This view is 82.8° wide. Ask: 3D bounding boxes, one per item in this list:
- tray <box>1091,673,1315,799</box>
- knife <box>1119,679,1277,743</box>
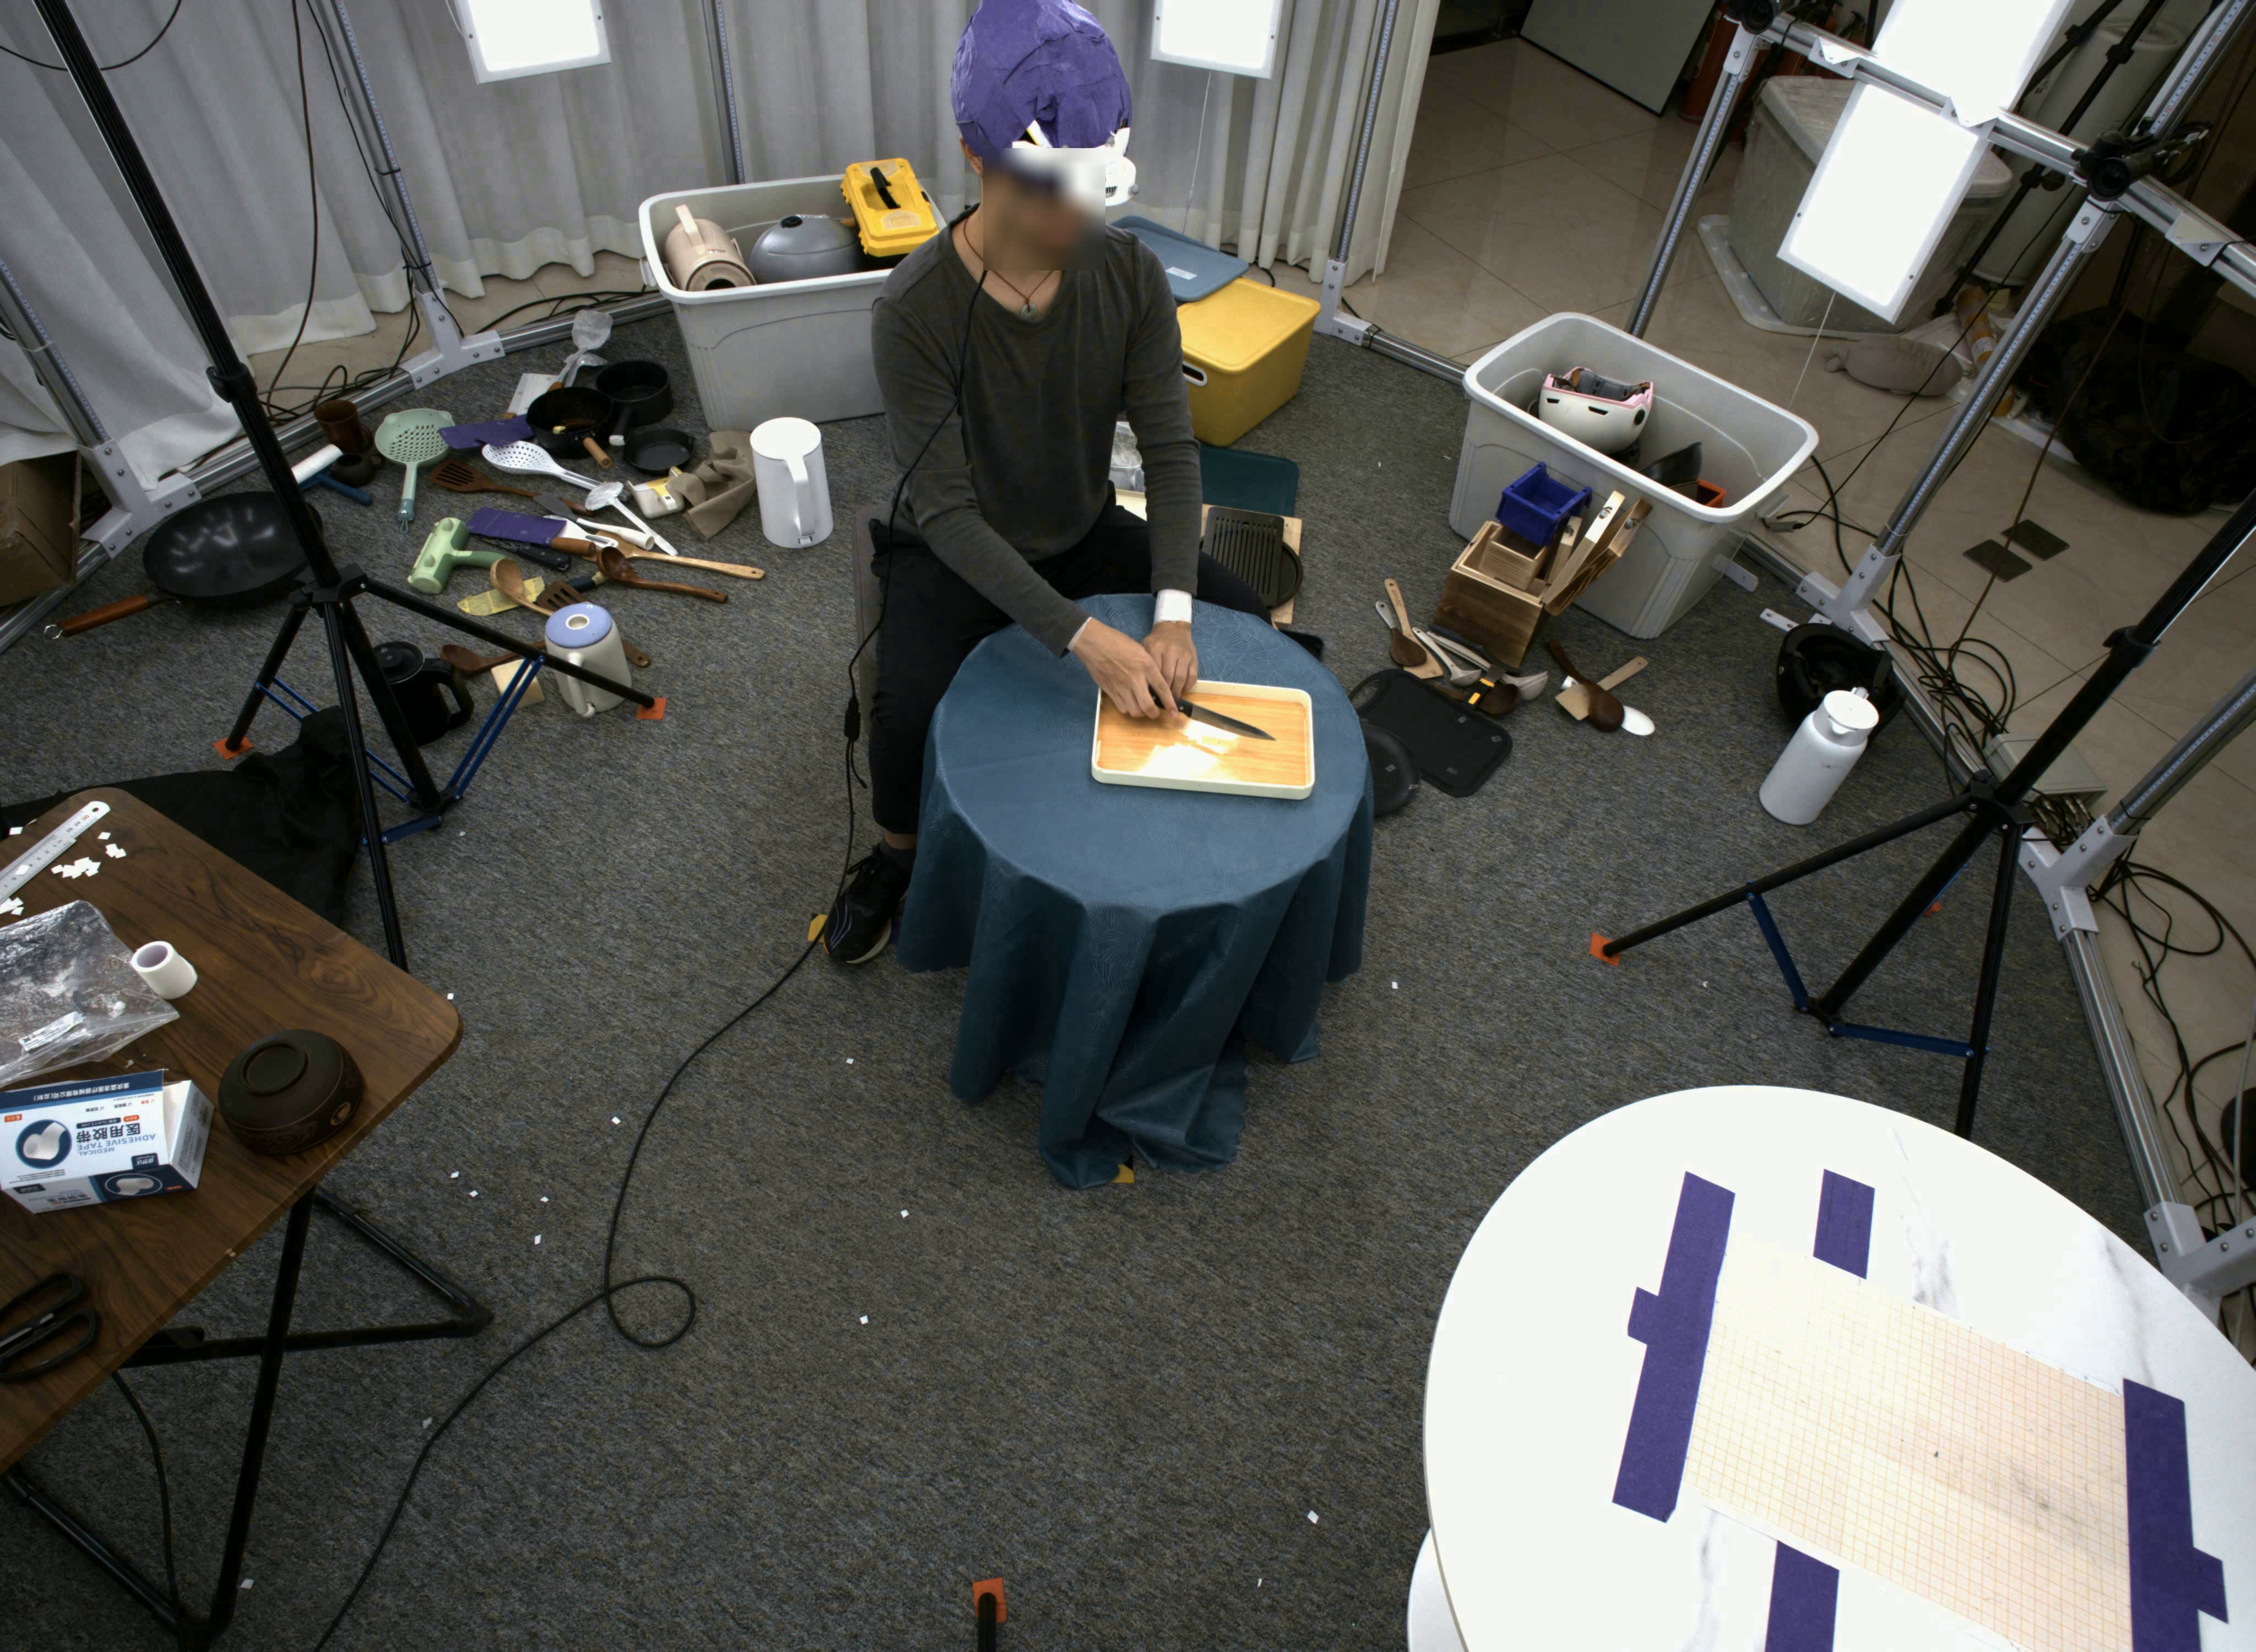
[{"bbox_3d":[0.104,-0.126,1.767,0.300,0.027,0.196,5,48,0],"label":"tray"},{"bbox_3d":[0.095,-0.158,1.756,0.240,0.024,0.016,22,28,19],"label":"knife"}]
